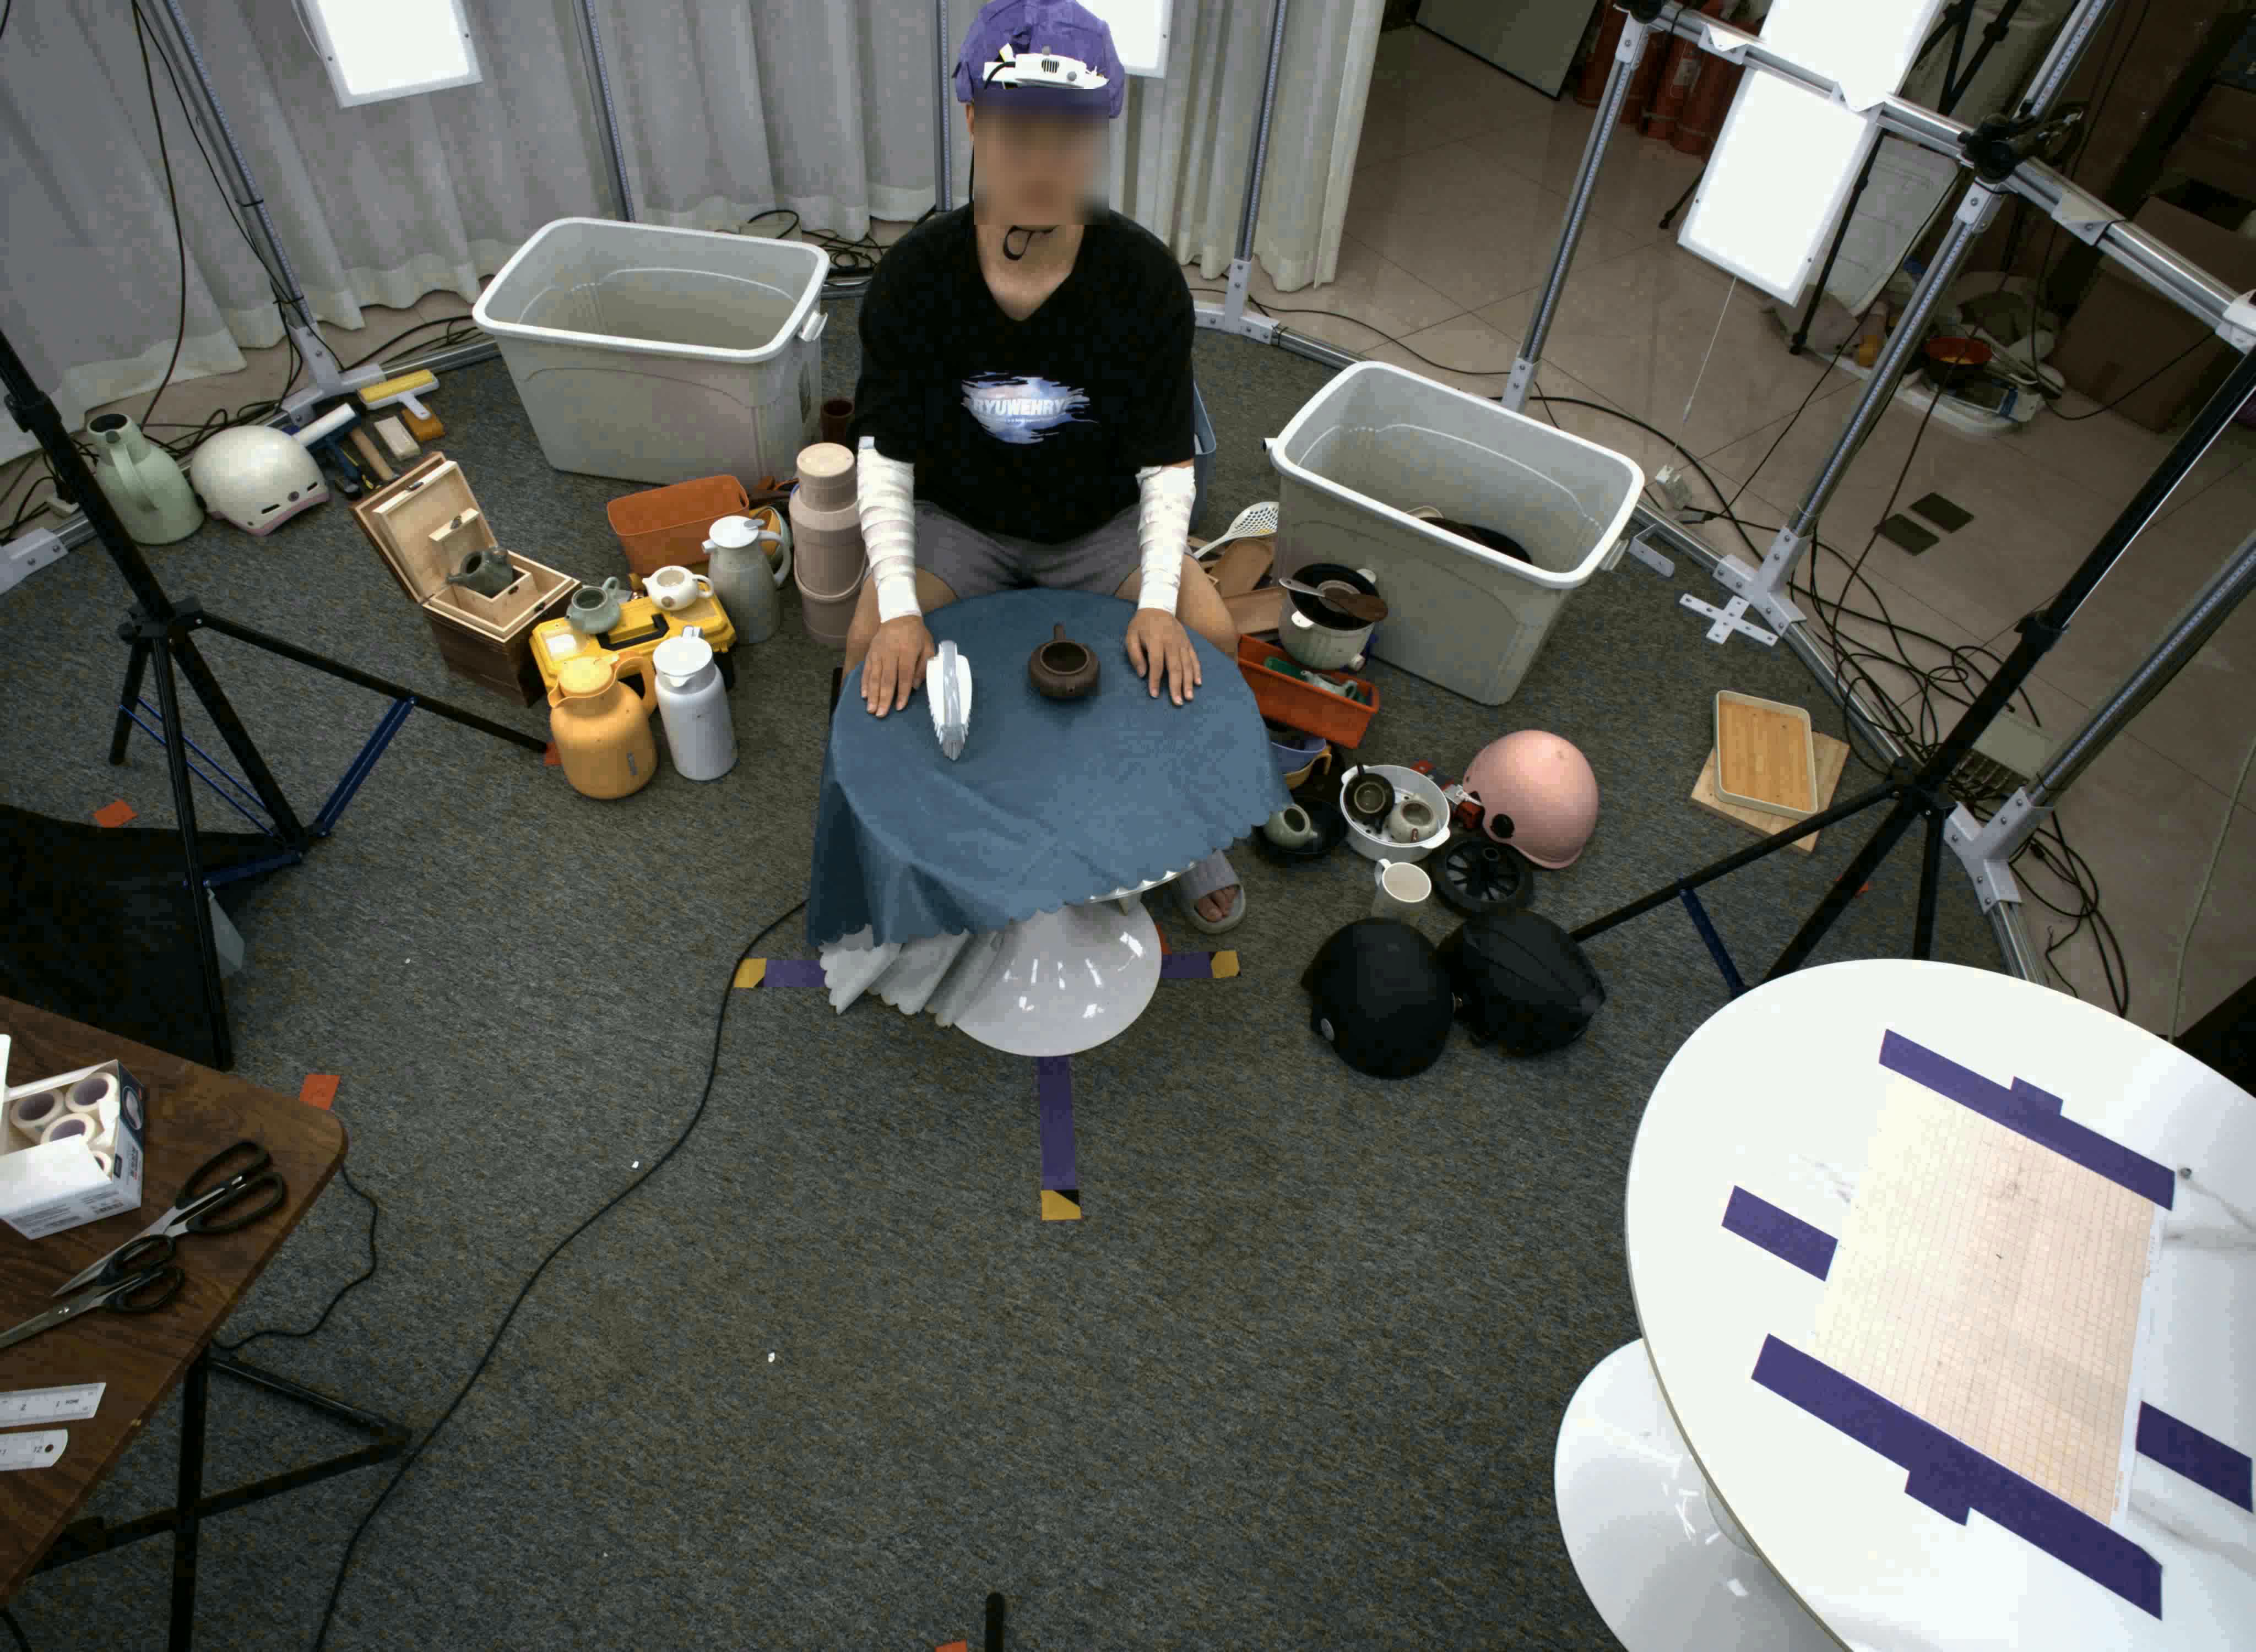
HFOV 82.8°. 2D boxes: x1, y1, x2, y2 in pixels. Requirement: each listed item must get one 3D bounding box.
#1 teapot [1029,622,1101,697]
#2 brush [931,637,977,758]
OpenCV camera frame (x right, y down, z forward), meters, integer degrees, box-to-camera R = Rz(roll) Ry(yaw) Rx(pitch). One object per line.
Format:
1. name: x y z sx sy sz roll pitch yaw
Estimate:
1. teapot: -0.091 -0.231 1.831 0.102 0.052 0.157 -8 50 -12
2. brush: -0.239 -0.185 1.759 0.061 0.092 0.180 -5 52 -4
